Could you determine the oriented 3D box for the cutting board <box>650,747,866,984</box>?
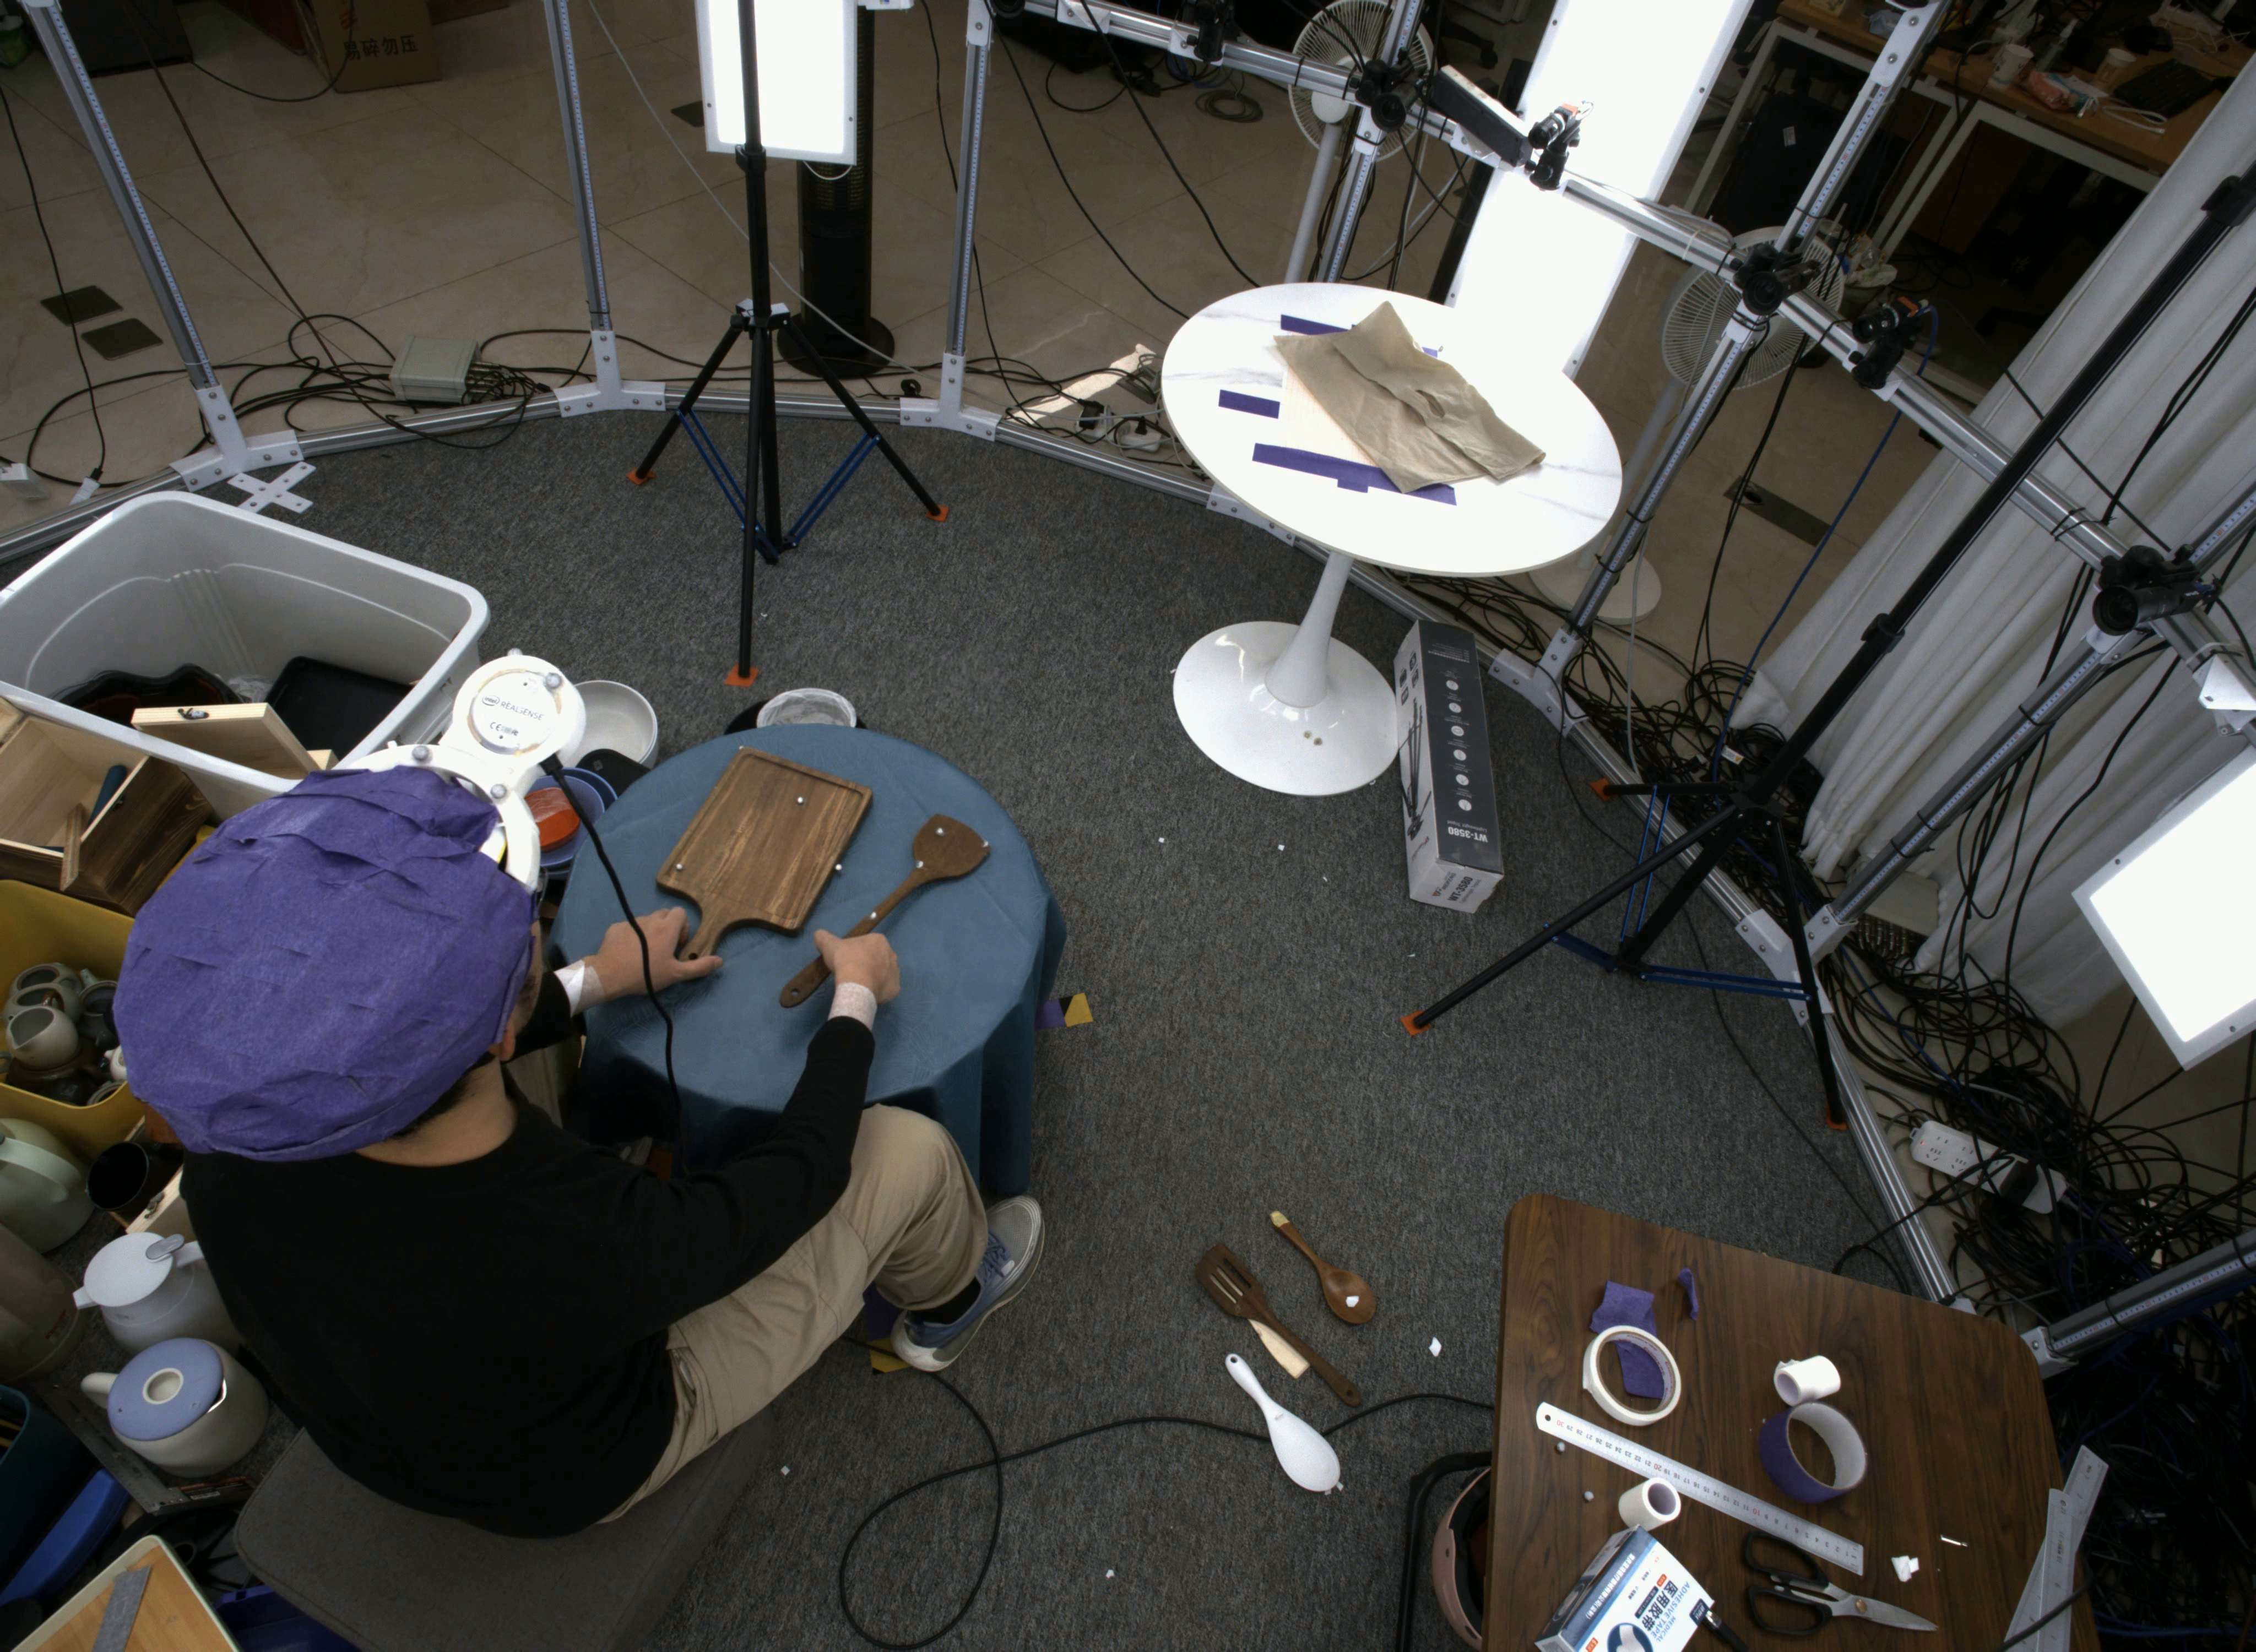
[{"bbox_3d":[-0.488,0.051,1.650,0.199,0.023,0.348,19,52,0],"label":"cutting board"}]

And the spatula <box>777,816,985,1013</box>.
[{"bbox_3d":[-0.312,0.106,1.634,0.095,0.016,0.385,33,44,8],"label":"spatula"}]
